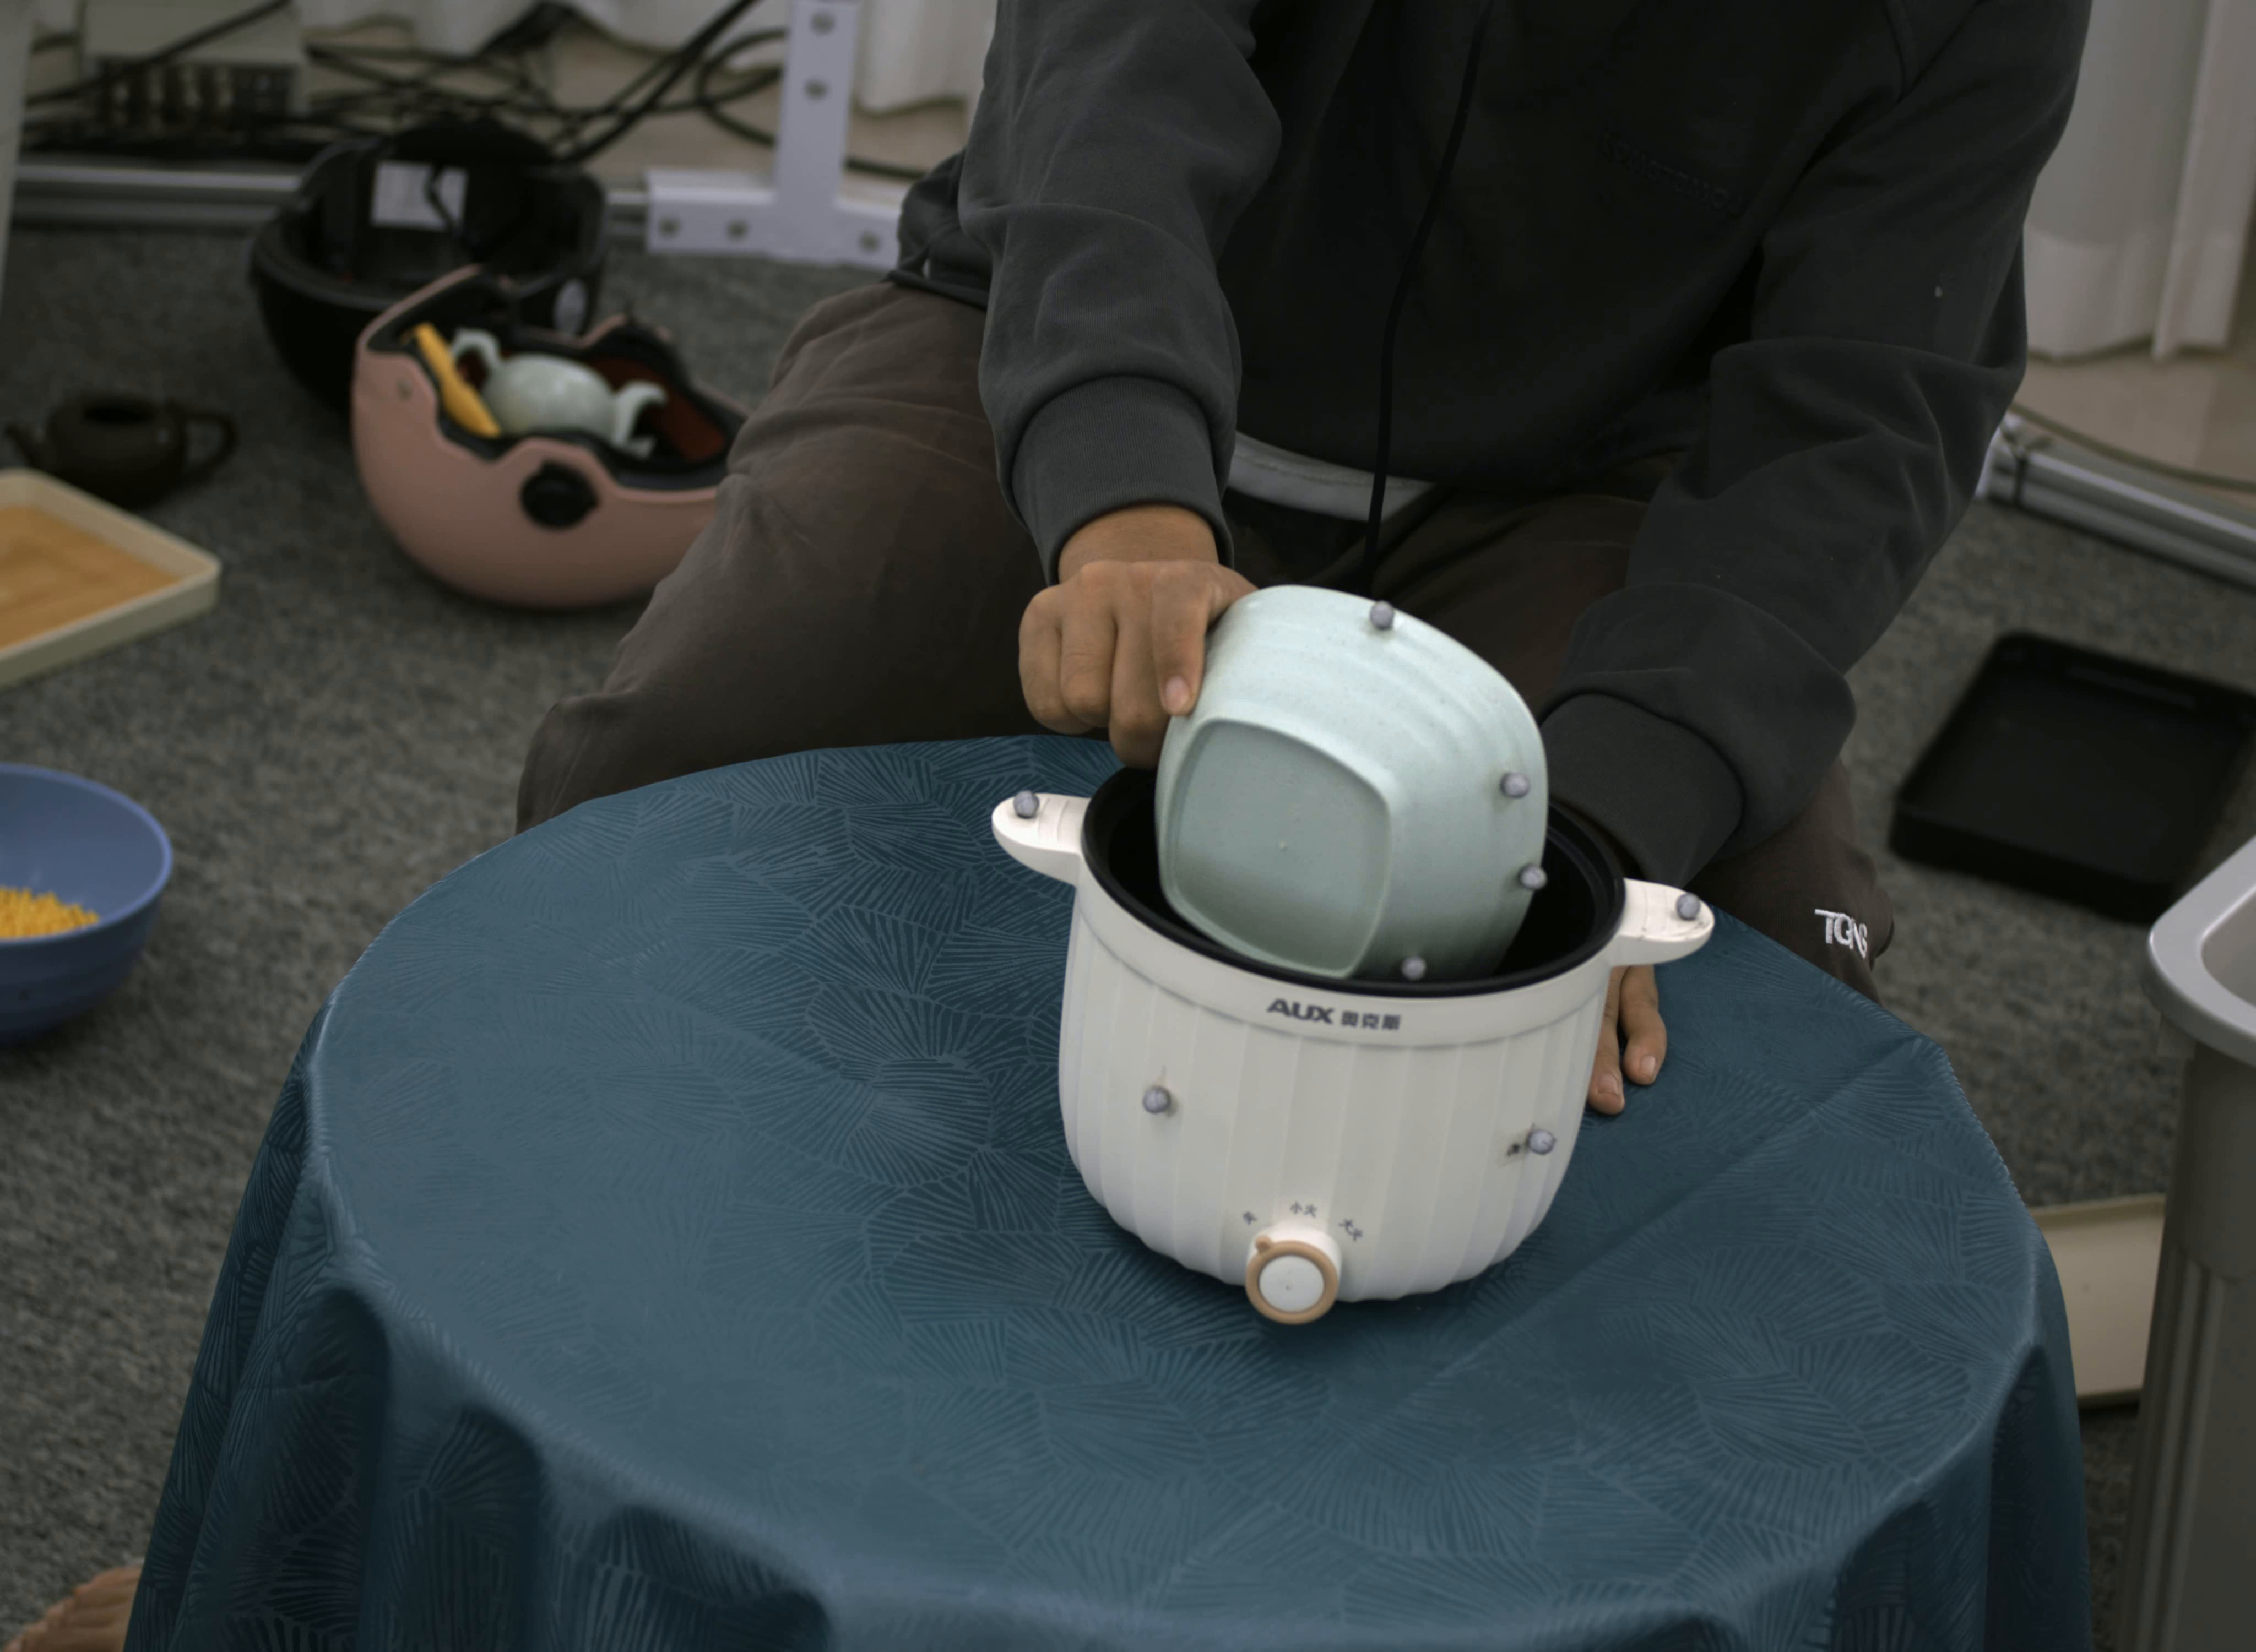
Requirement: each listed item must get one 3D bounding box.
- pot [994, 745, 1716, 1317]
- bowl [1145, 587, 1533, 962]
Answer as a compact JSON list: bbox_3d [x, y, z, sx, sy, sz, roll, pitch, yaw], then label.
[{"bbox_3d":[0.069,0.069,1.776,0.240,0.142,0.191,6,23,2],"label":"pot"},{"bbox_3d":[0.058,-0.001,1.740,0.152,0.151,0.058,22,28,26],"label":"bowl"}]
